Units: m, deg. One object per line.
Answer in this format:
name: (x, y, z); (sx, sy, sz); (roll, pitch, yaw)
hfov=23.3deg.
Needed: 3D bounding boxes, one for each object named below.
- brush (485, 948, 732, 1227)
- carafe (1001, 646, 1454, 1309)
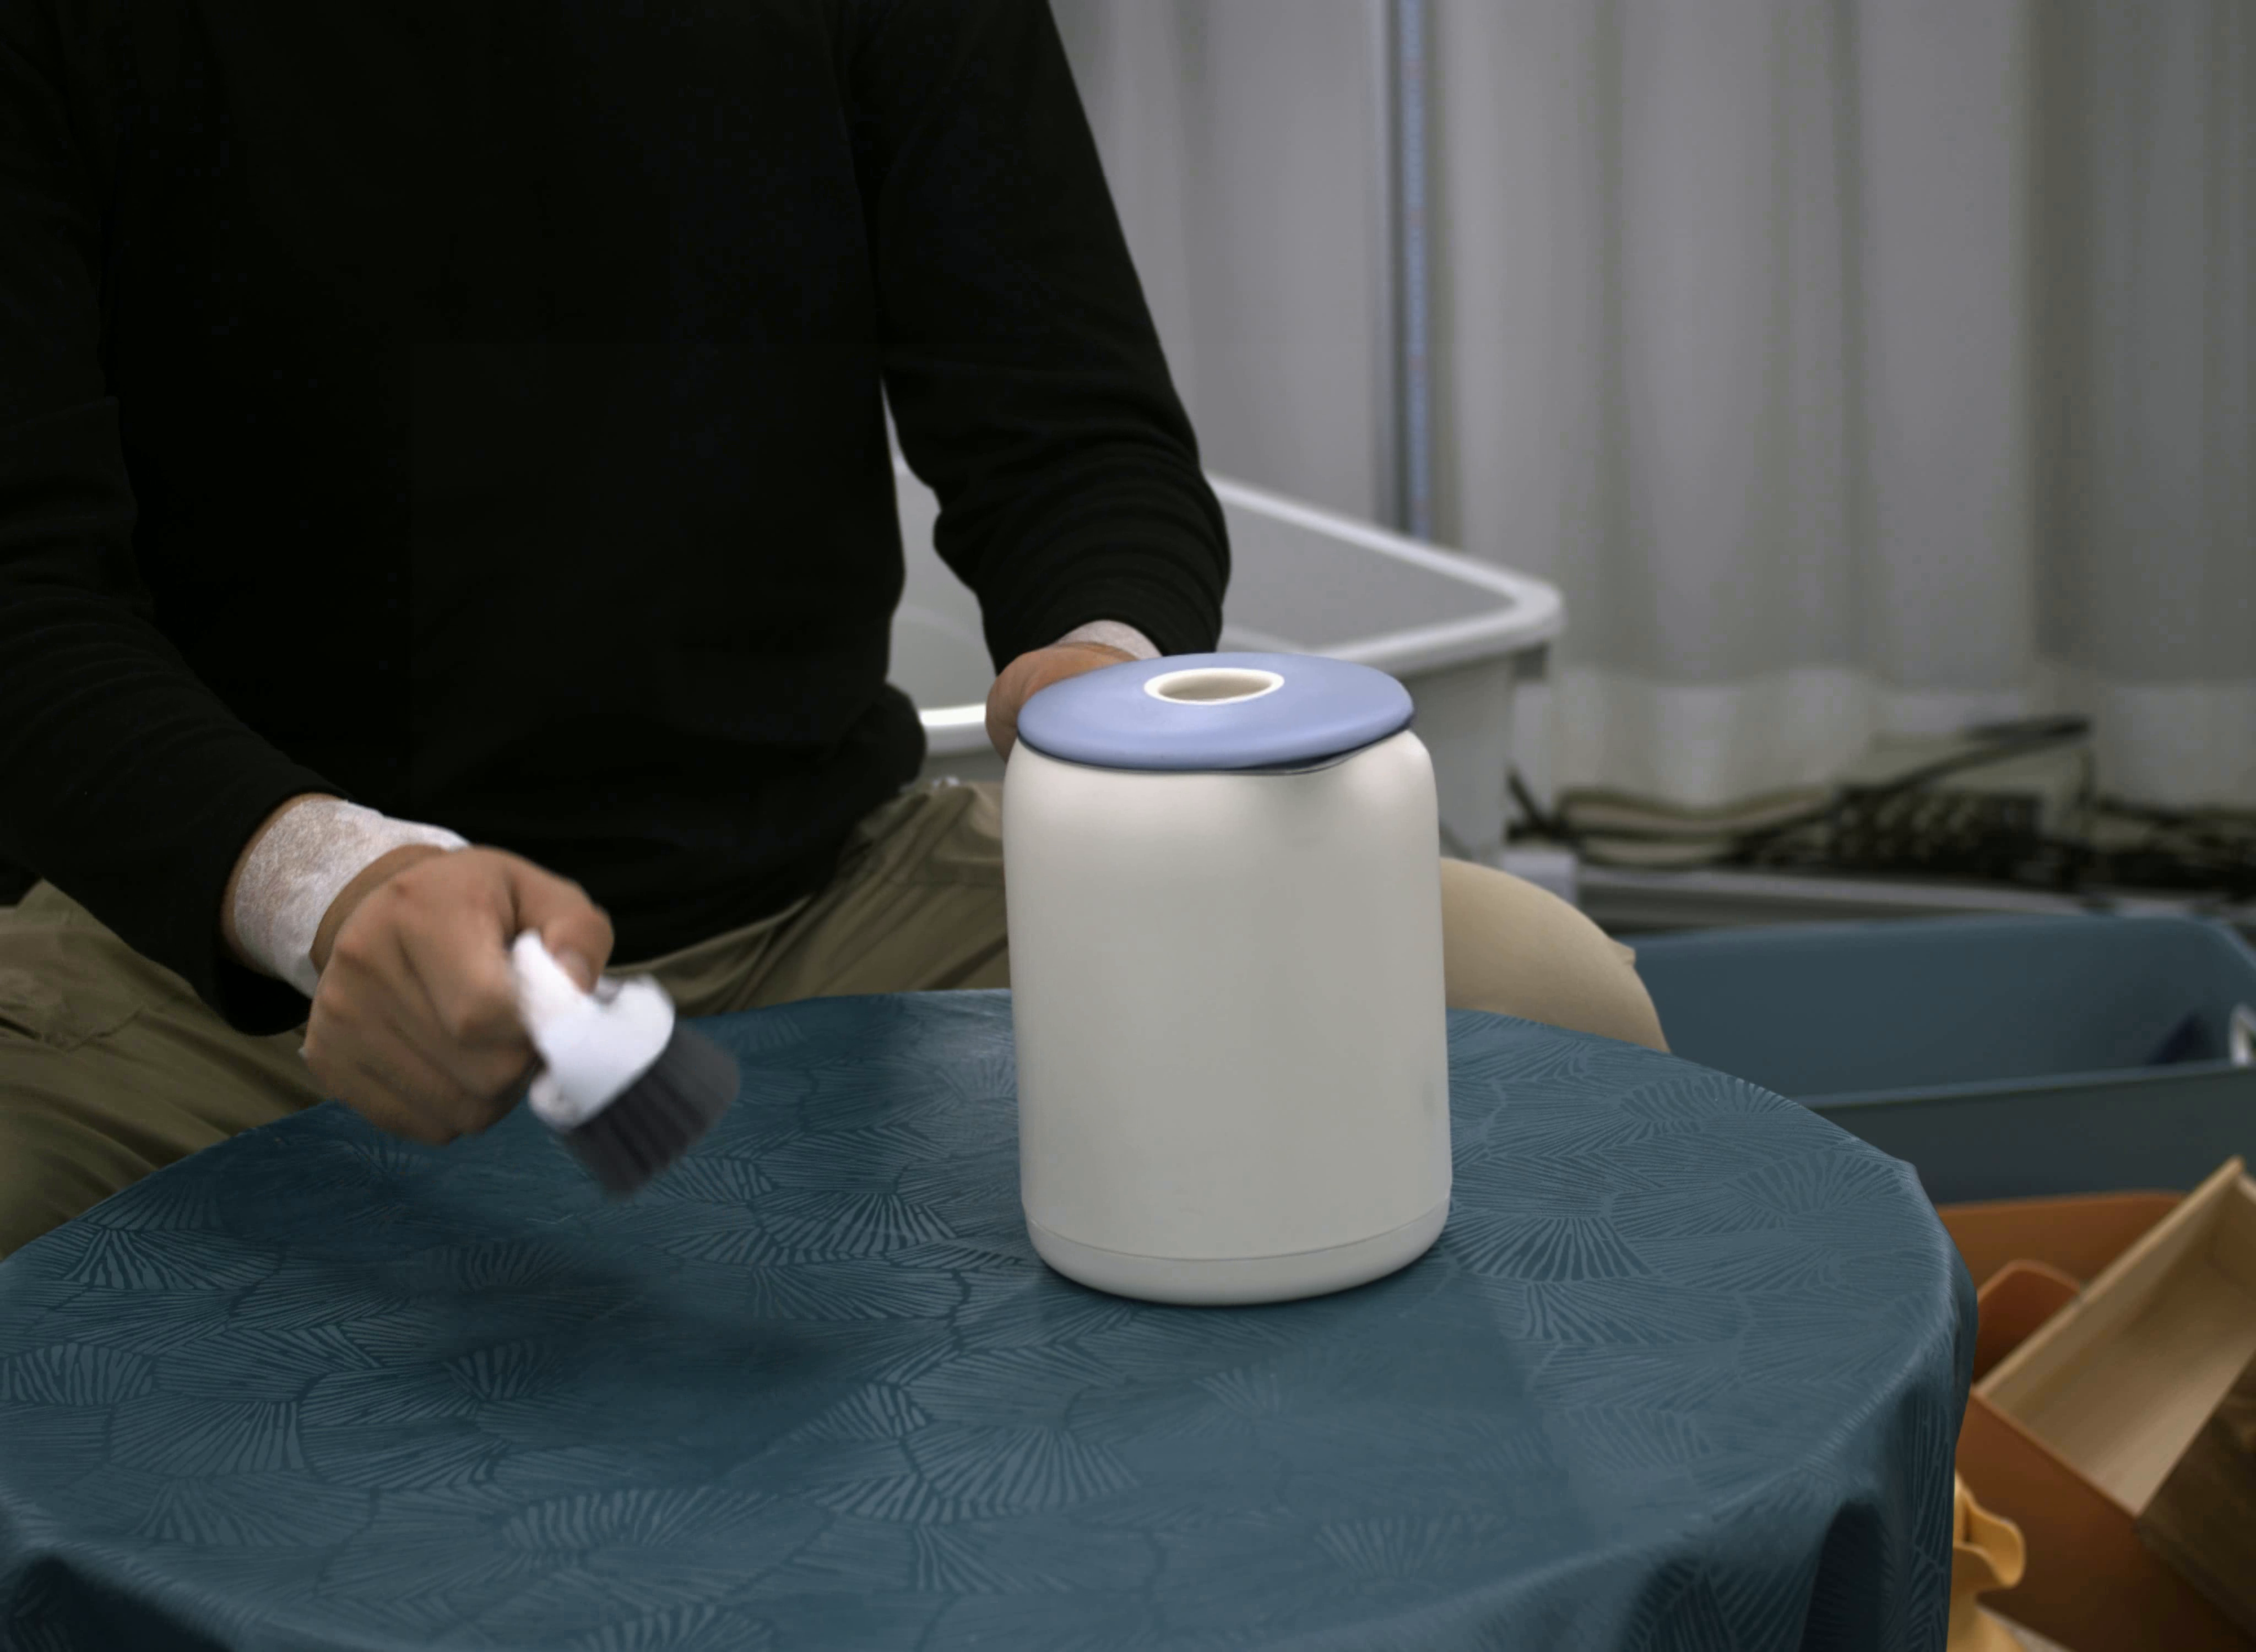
brush: (-0.157, 0.068, 1.582); (0.050, 0.072, 0.099); (-40, 11, 1)
carafe: (0.020, 0.039, 1.664); (0.131, 0.182, 0.192); (-9, 14, -23)
